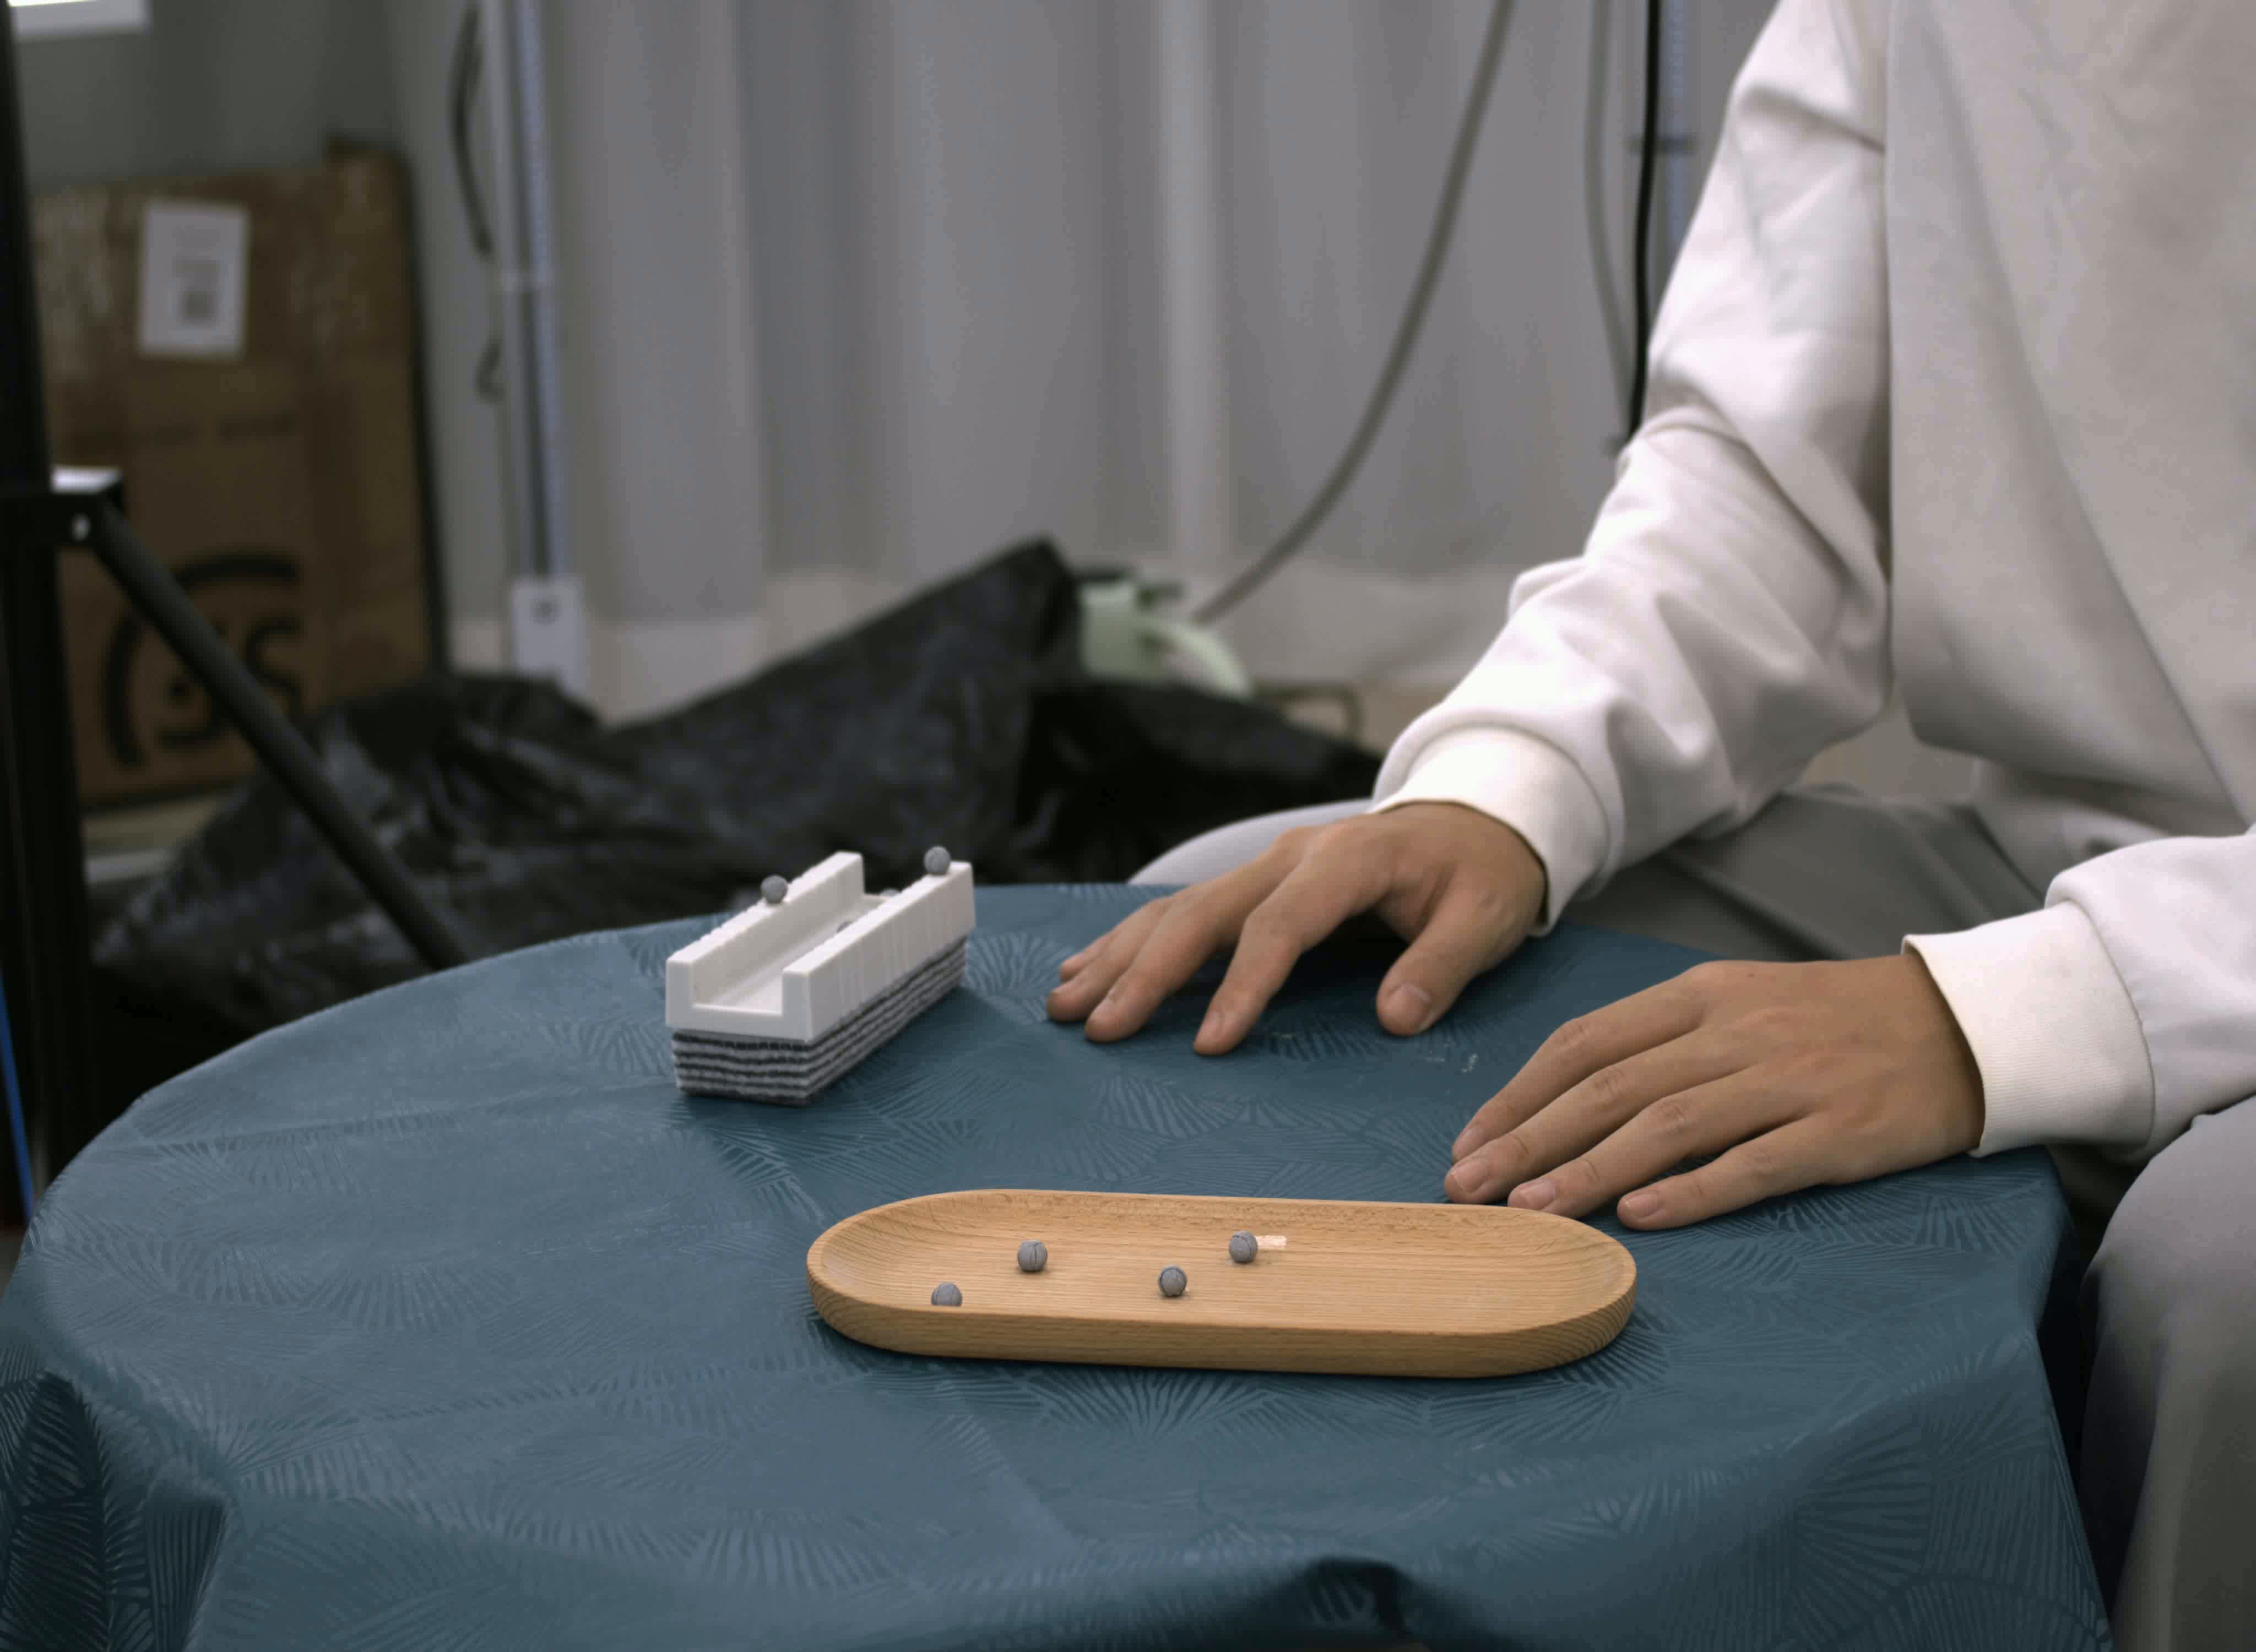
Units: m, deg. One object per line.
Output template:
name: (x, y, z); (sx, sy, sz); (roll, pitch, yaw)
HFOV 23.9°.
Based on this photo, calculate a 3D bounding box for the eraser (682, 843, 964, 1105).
eraser: (-0.096, 0.047, 1.704); (0.050, 0.046, 0.133); (8, 17, 15)

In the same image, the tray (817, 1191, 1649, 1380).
tray: (0.028, 0.127, 1.461); (0.232, 0.020, 0.101); (2, 17, 11)
